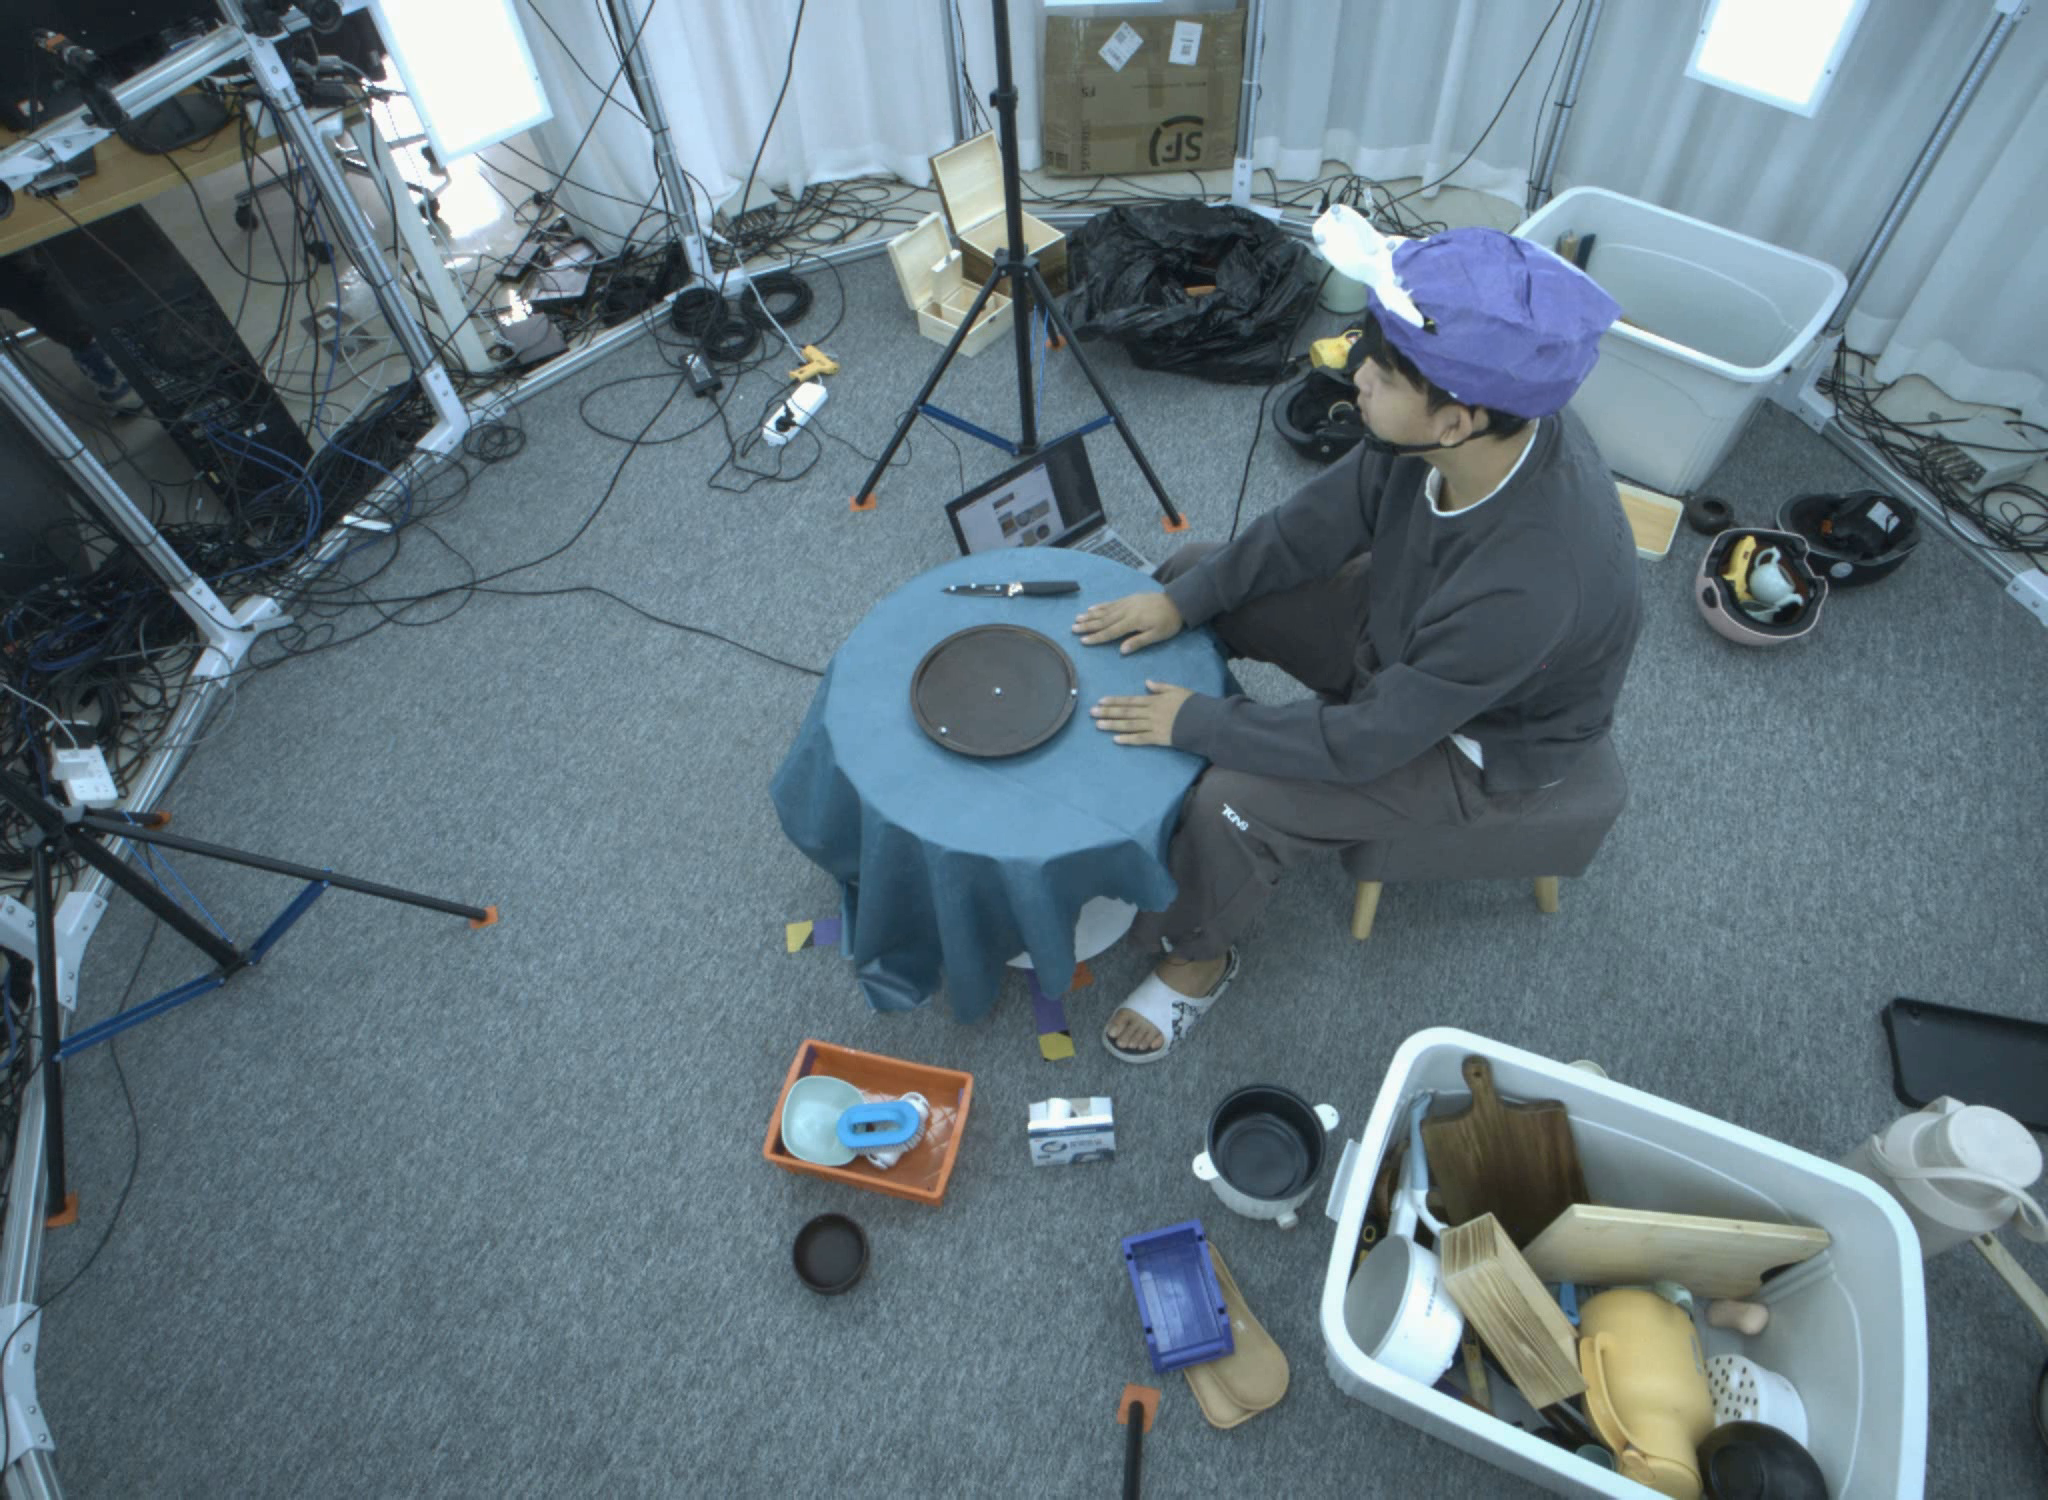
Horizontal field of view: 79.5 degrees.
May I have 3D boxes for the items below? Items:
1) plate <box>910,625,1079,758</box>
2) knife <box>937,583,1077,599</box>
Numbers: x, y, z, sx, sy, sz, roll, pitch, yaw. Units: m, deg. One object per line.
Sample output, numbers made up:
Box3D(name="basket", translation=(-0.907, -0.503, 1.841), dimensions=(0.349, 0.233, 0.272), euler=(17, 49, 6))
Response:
Box3D(name="plate", translation=(-0.044, -0.090, 1.838), dimensions=(0.255, 0.029, 0.252), euler=(1, 54, 0))
Box3D(name="knife", translation=(-0.028, -0.254, 1.961), dimensions=(0.225, 0.017, 0.026), euler=(1, 60, 3))
